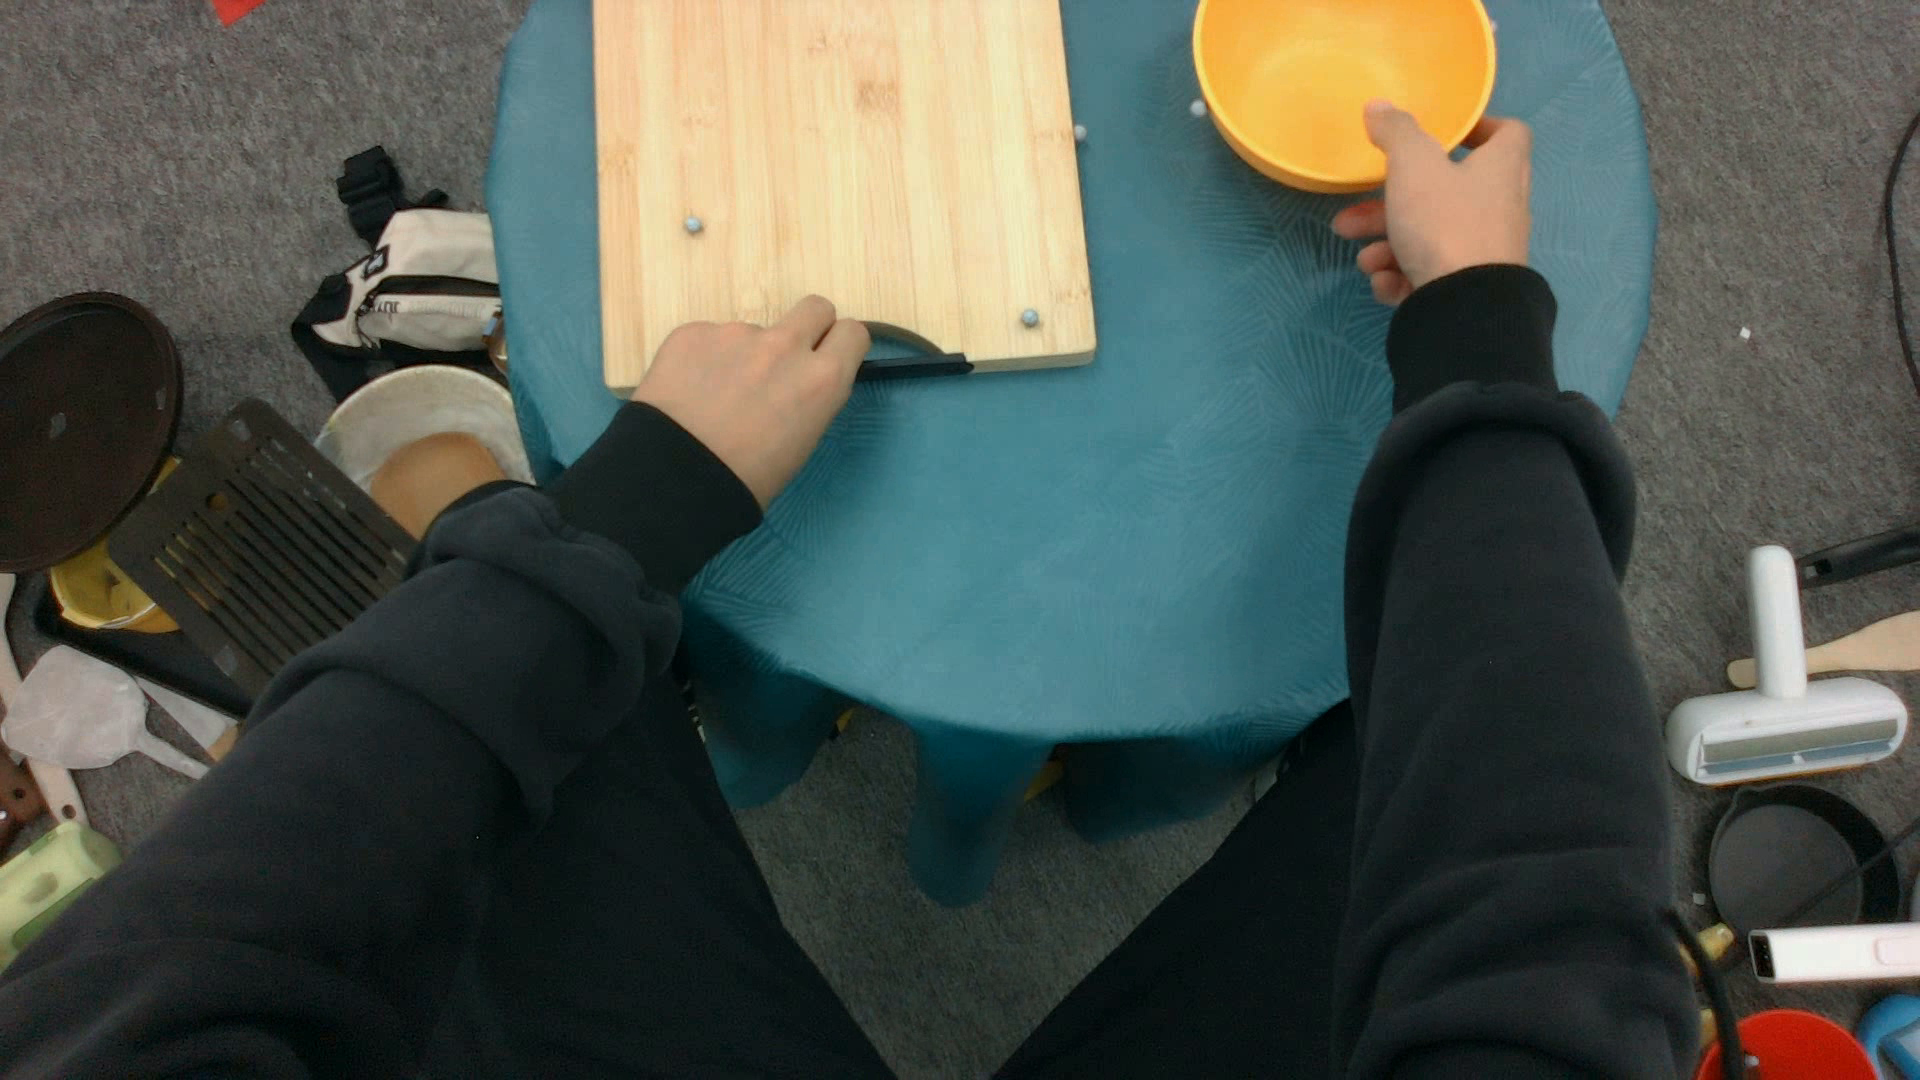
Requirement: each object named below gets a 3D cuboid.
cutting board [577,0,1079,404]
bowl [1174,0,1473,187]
[{"bbox_3d":[-0.077,-0.244,0.716,0.251,0.023,0.349,-6,76,-3],"label":"cutting board"},{"bbox_3d":[0.178,-0.236,0.699,0.145,0.060,0.145,0,77,1],"label":"bowl"}]
